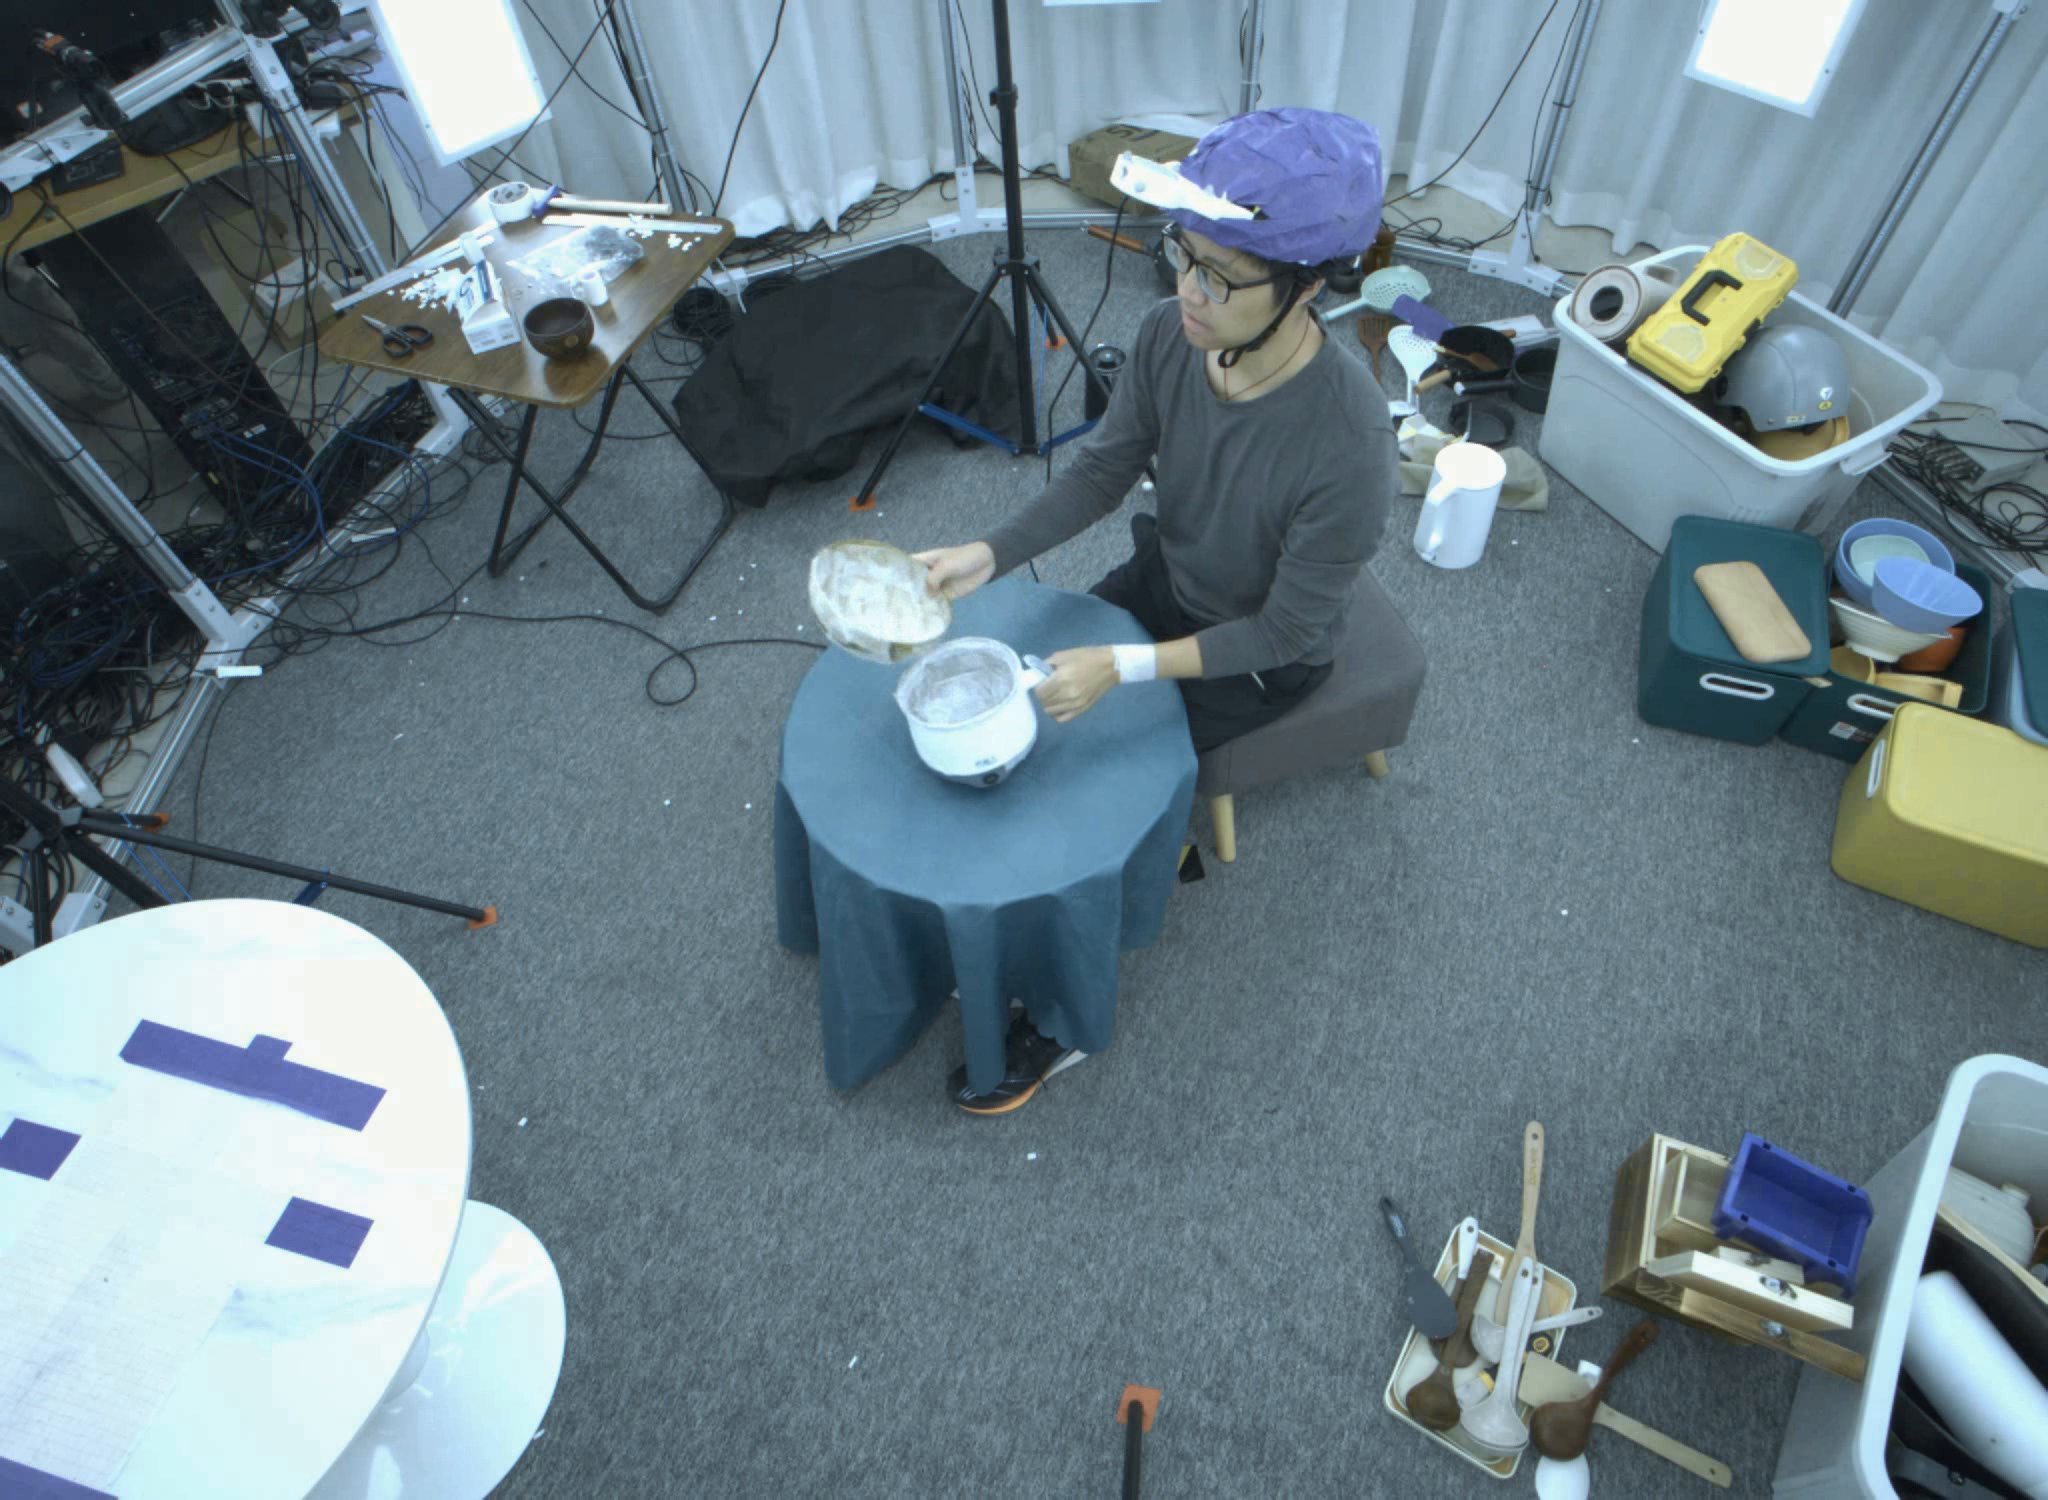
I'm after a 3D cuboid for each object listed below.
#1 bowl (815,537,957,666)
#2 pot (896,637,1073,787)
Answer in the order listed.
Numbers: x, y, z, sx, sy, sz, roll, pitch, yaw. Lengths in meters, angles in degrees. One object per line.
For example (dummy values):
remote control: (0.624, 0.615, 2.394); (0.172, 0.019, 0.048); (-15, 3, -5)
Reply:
bowl: (-0.200, -0.186, 1.677); (0.218, 0.094, 0.212); (23, 42, -20)
pot: (-0.051, -0.062, 1.737); (0.234, 0.139, 0.175); (-19, 47, -3)
